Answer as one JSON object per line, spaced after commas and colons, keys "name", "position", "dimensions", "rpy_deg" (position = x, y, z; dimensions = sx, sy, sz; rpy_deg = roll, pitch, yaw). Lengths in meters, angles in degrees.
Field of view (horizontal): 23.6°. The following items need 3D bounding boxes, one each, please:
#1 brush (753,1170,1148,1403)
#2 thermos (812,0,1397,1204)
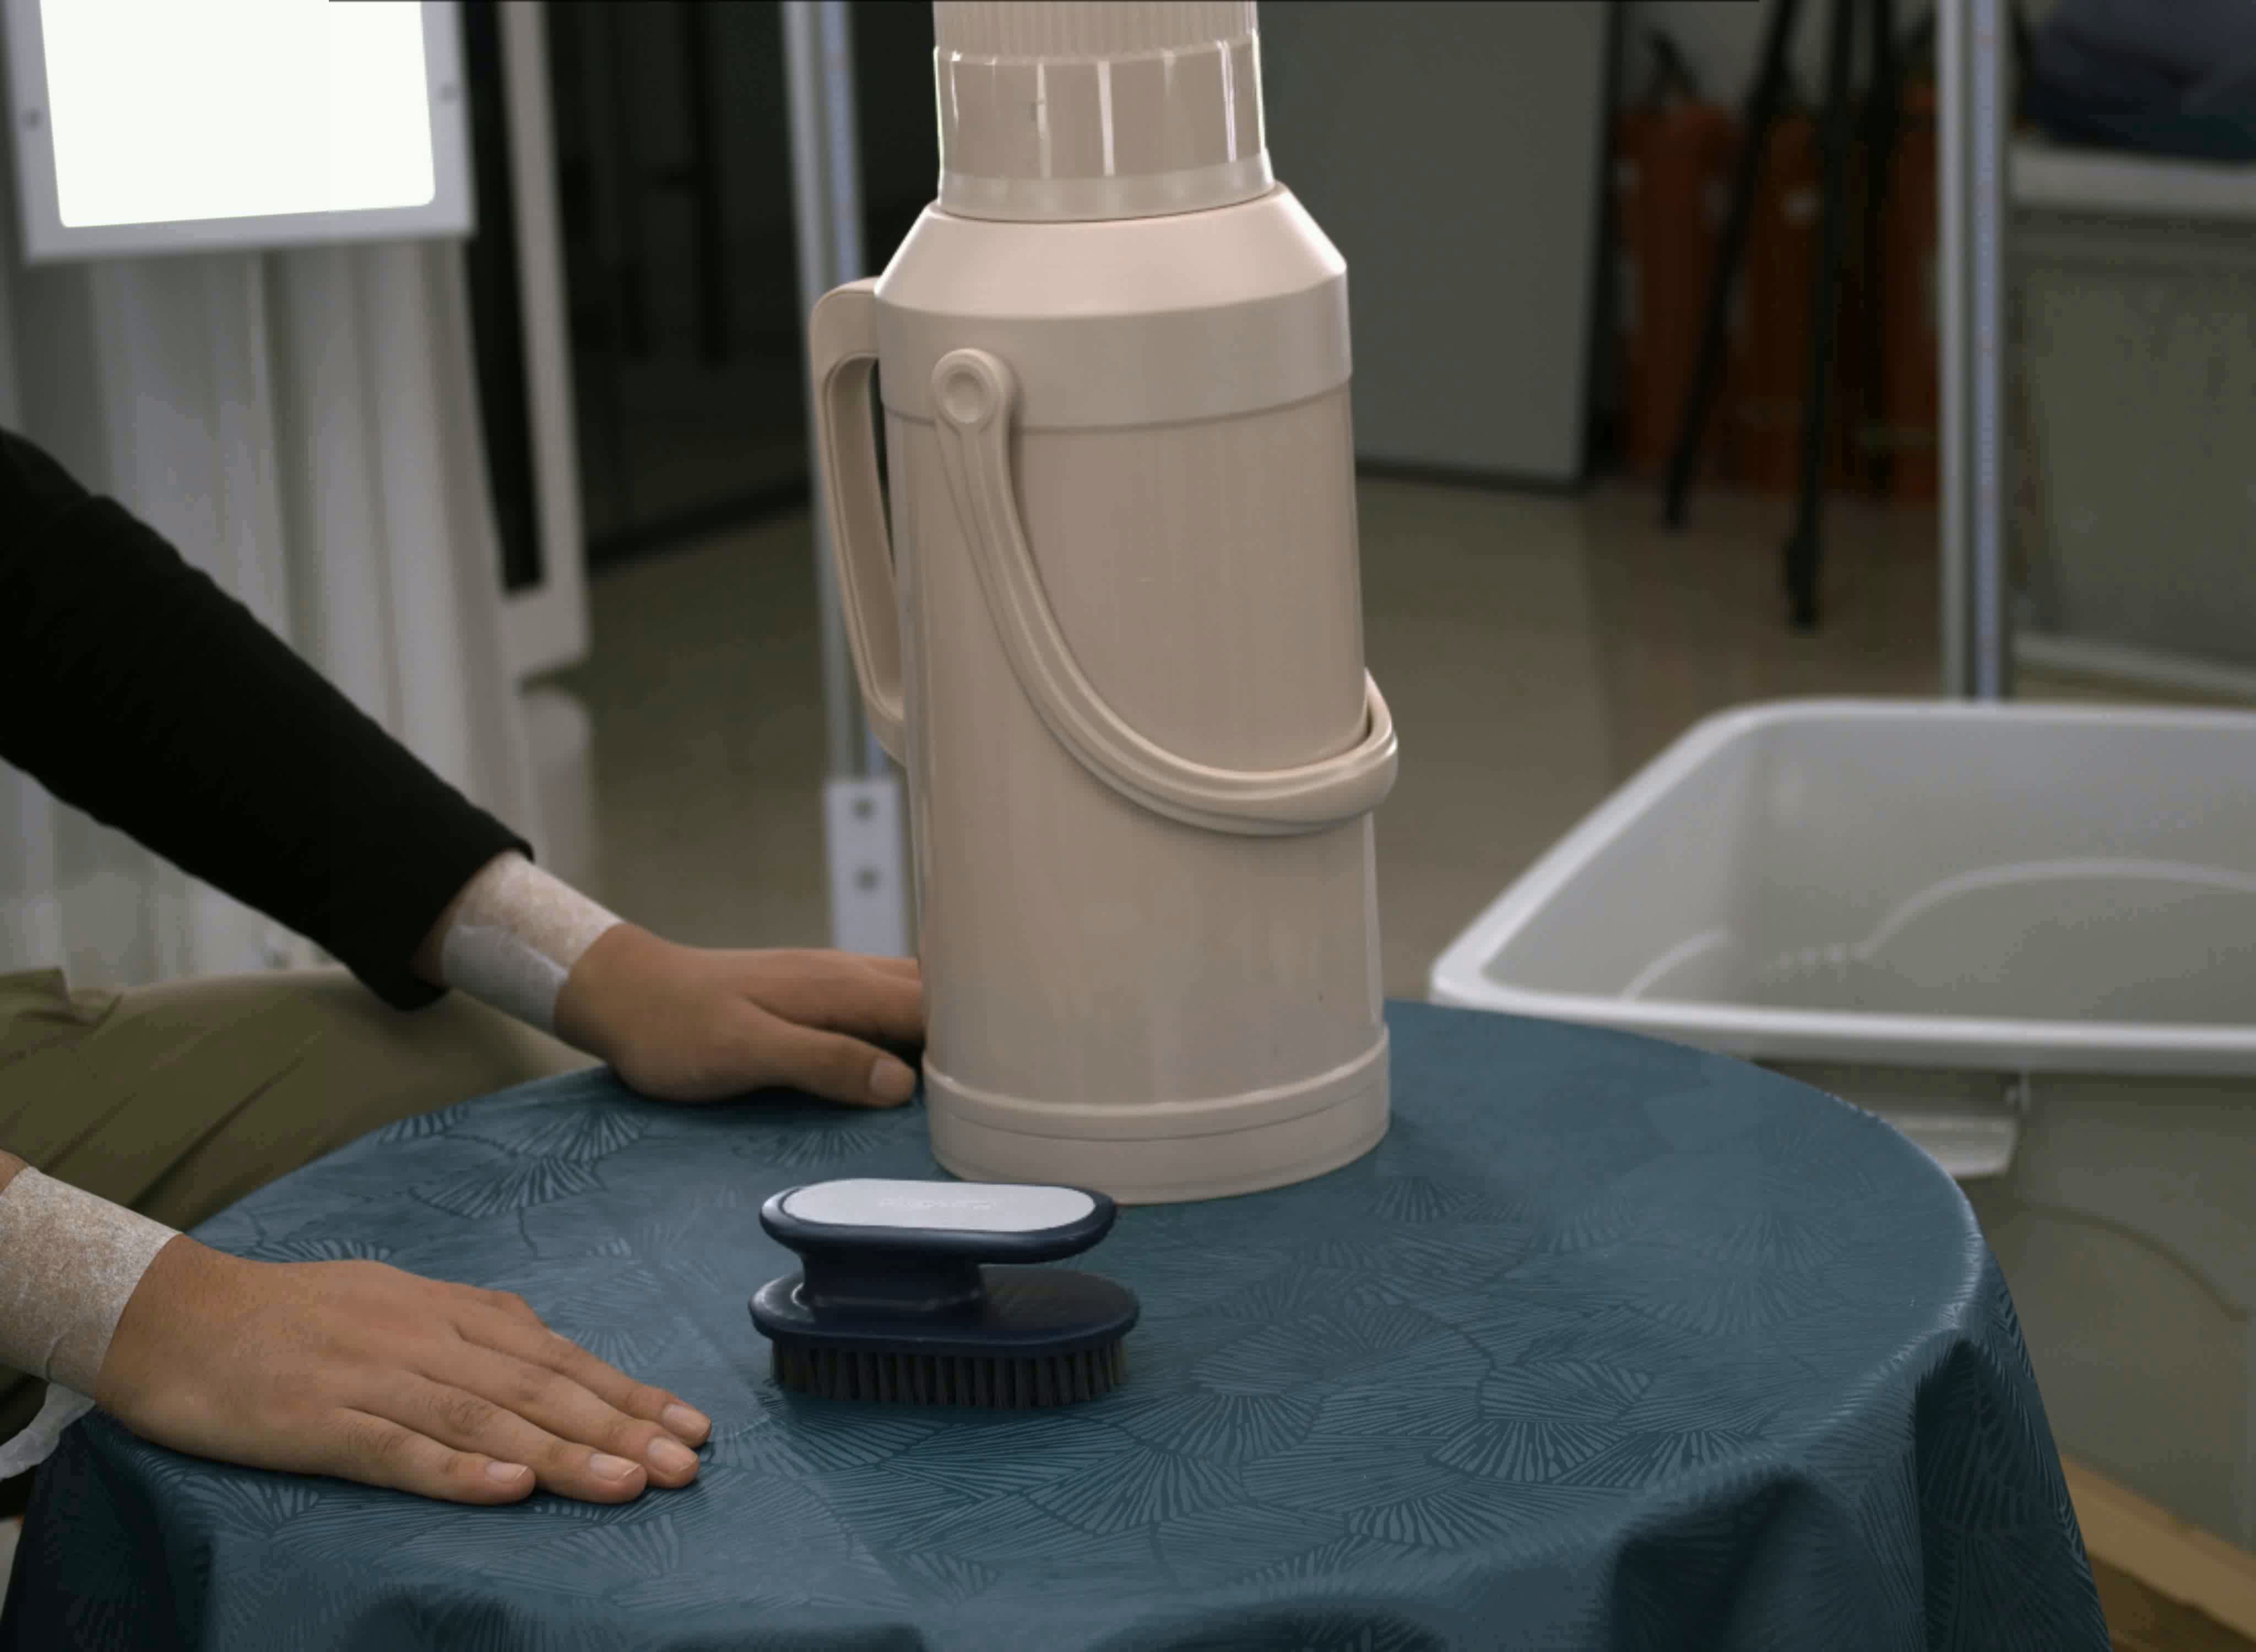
{"name": "brush", "position": [-0.053, 0.138, 1.601], "dimensions": [0.121, 0.062, 0.067], "rpy_deg": [2, 12, 20]}
{"name": "thermos", "position": [-0.011, -0.090, 1.795], "dimensions": [0.208, 0.410, 0.172], "rpy_deg": [5, 17, 33]}
